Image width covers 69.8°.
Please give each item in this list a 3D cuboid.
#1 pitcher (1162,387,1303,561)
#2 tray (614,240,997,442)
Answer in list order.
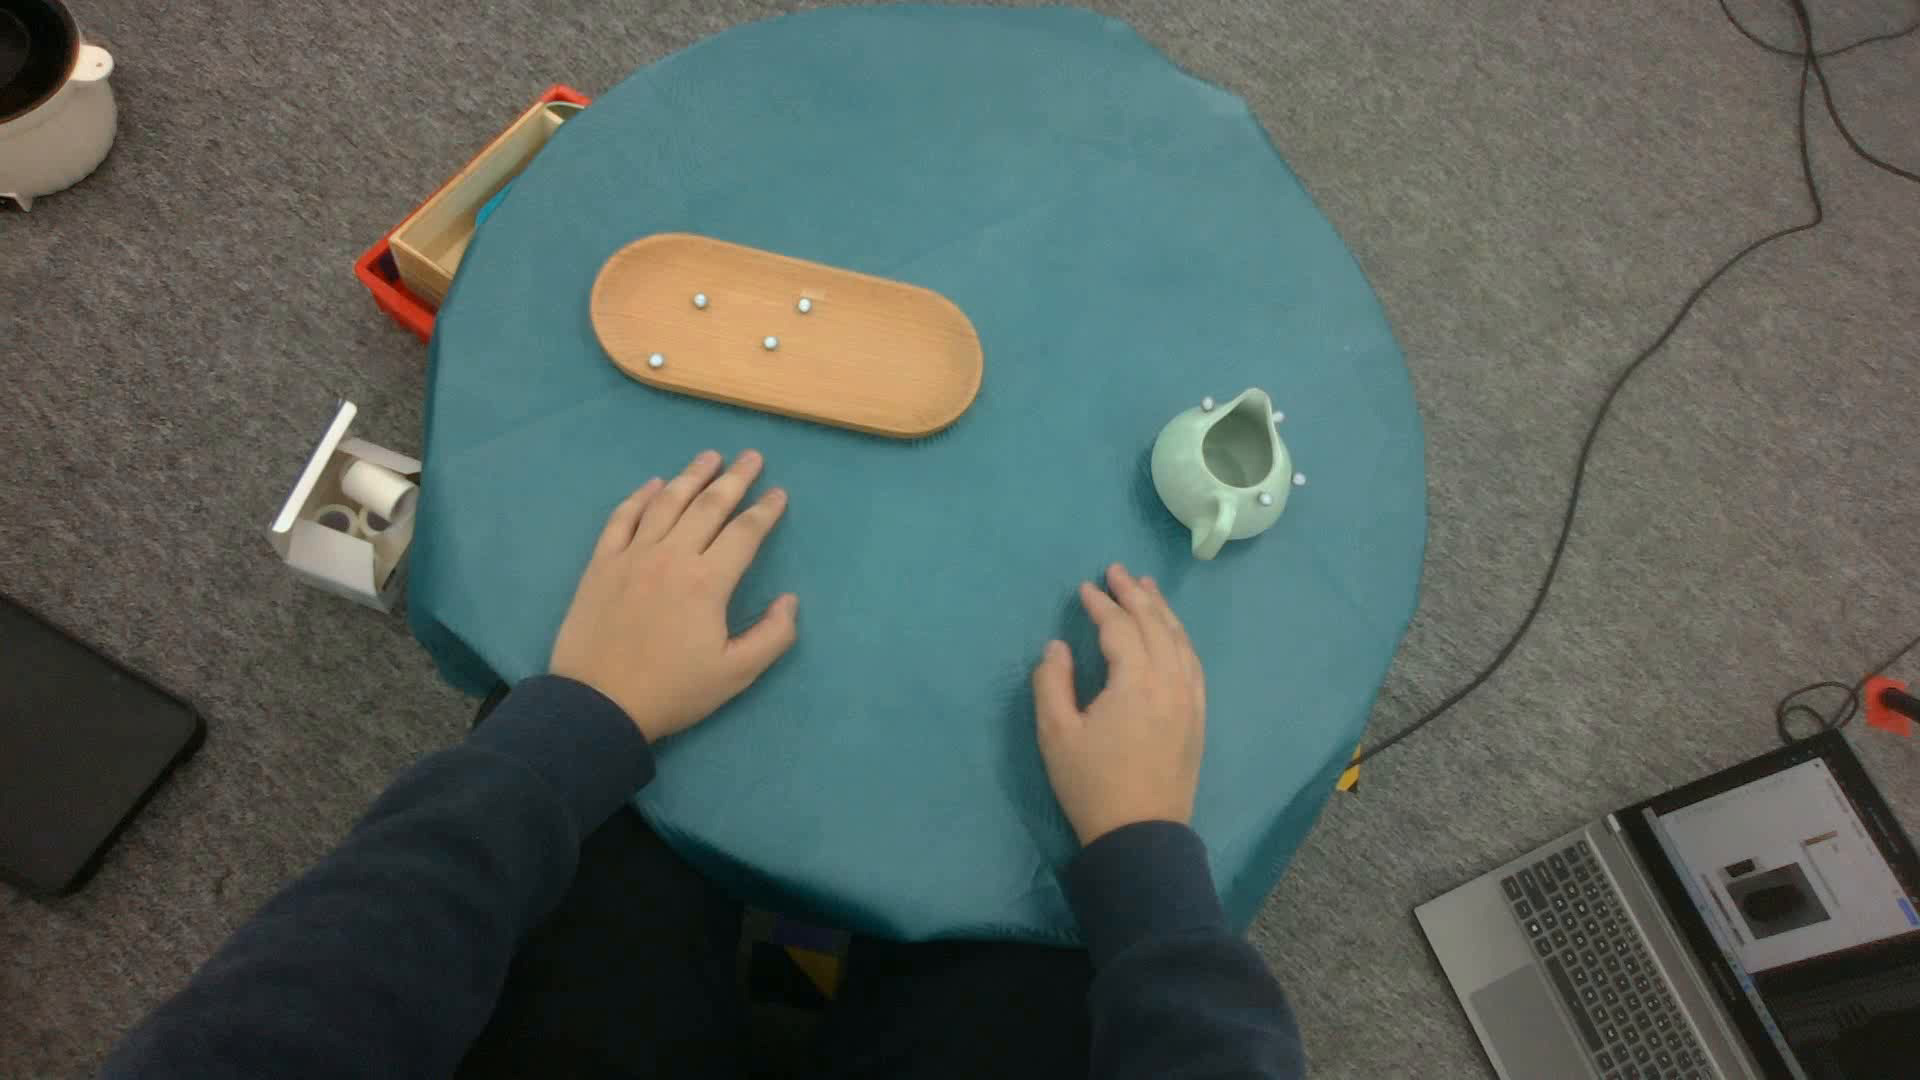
[{"bbox_3d":[0.162,-0.035,0.820,0.086,0.060,0.108,18,69,-1],"label":"pitcher"},{"bbox_3d":[-0.091,-0.119,0.829,0.231,0.020,0.102,12,69,-8],"label":"tray"}]
